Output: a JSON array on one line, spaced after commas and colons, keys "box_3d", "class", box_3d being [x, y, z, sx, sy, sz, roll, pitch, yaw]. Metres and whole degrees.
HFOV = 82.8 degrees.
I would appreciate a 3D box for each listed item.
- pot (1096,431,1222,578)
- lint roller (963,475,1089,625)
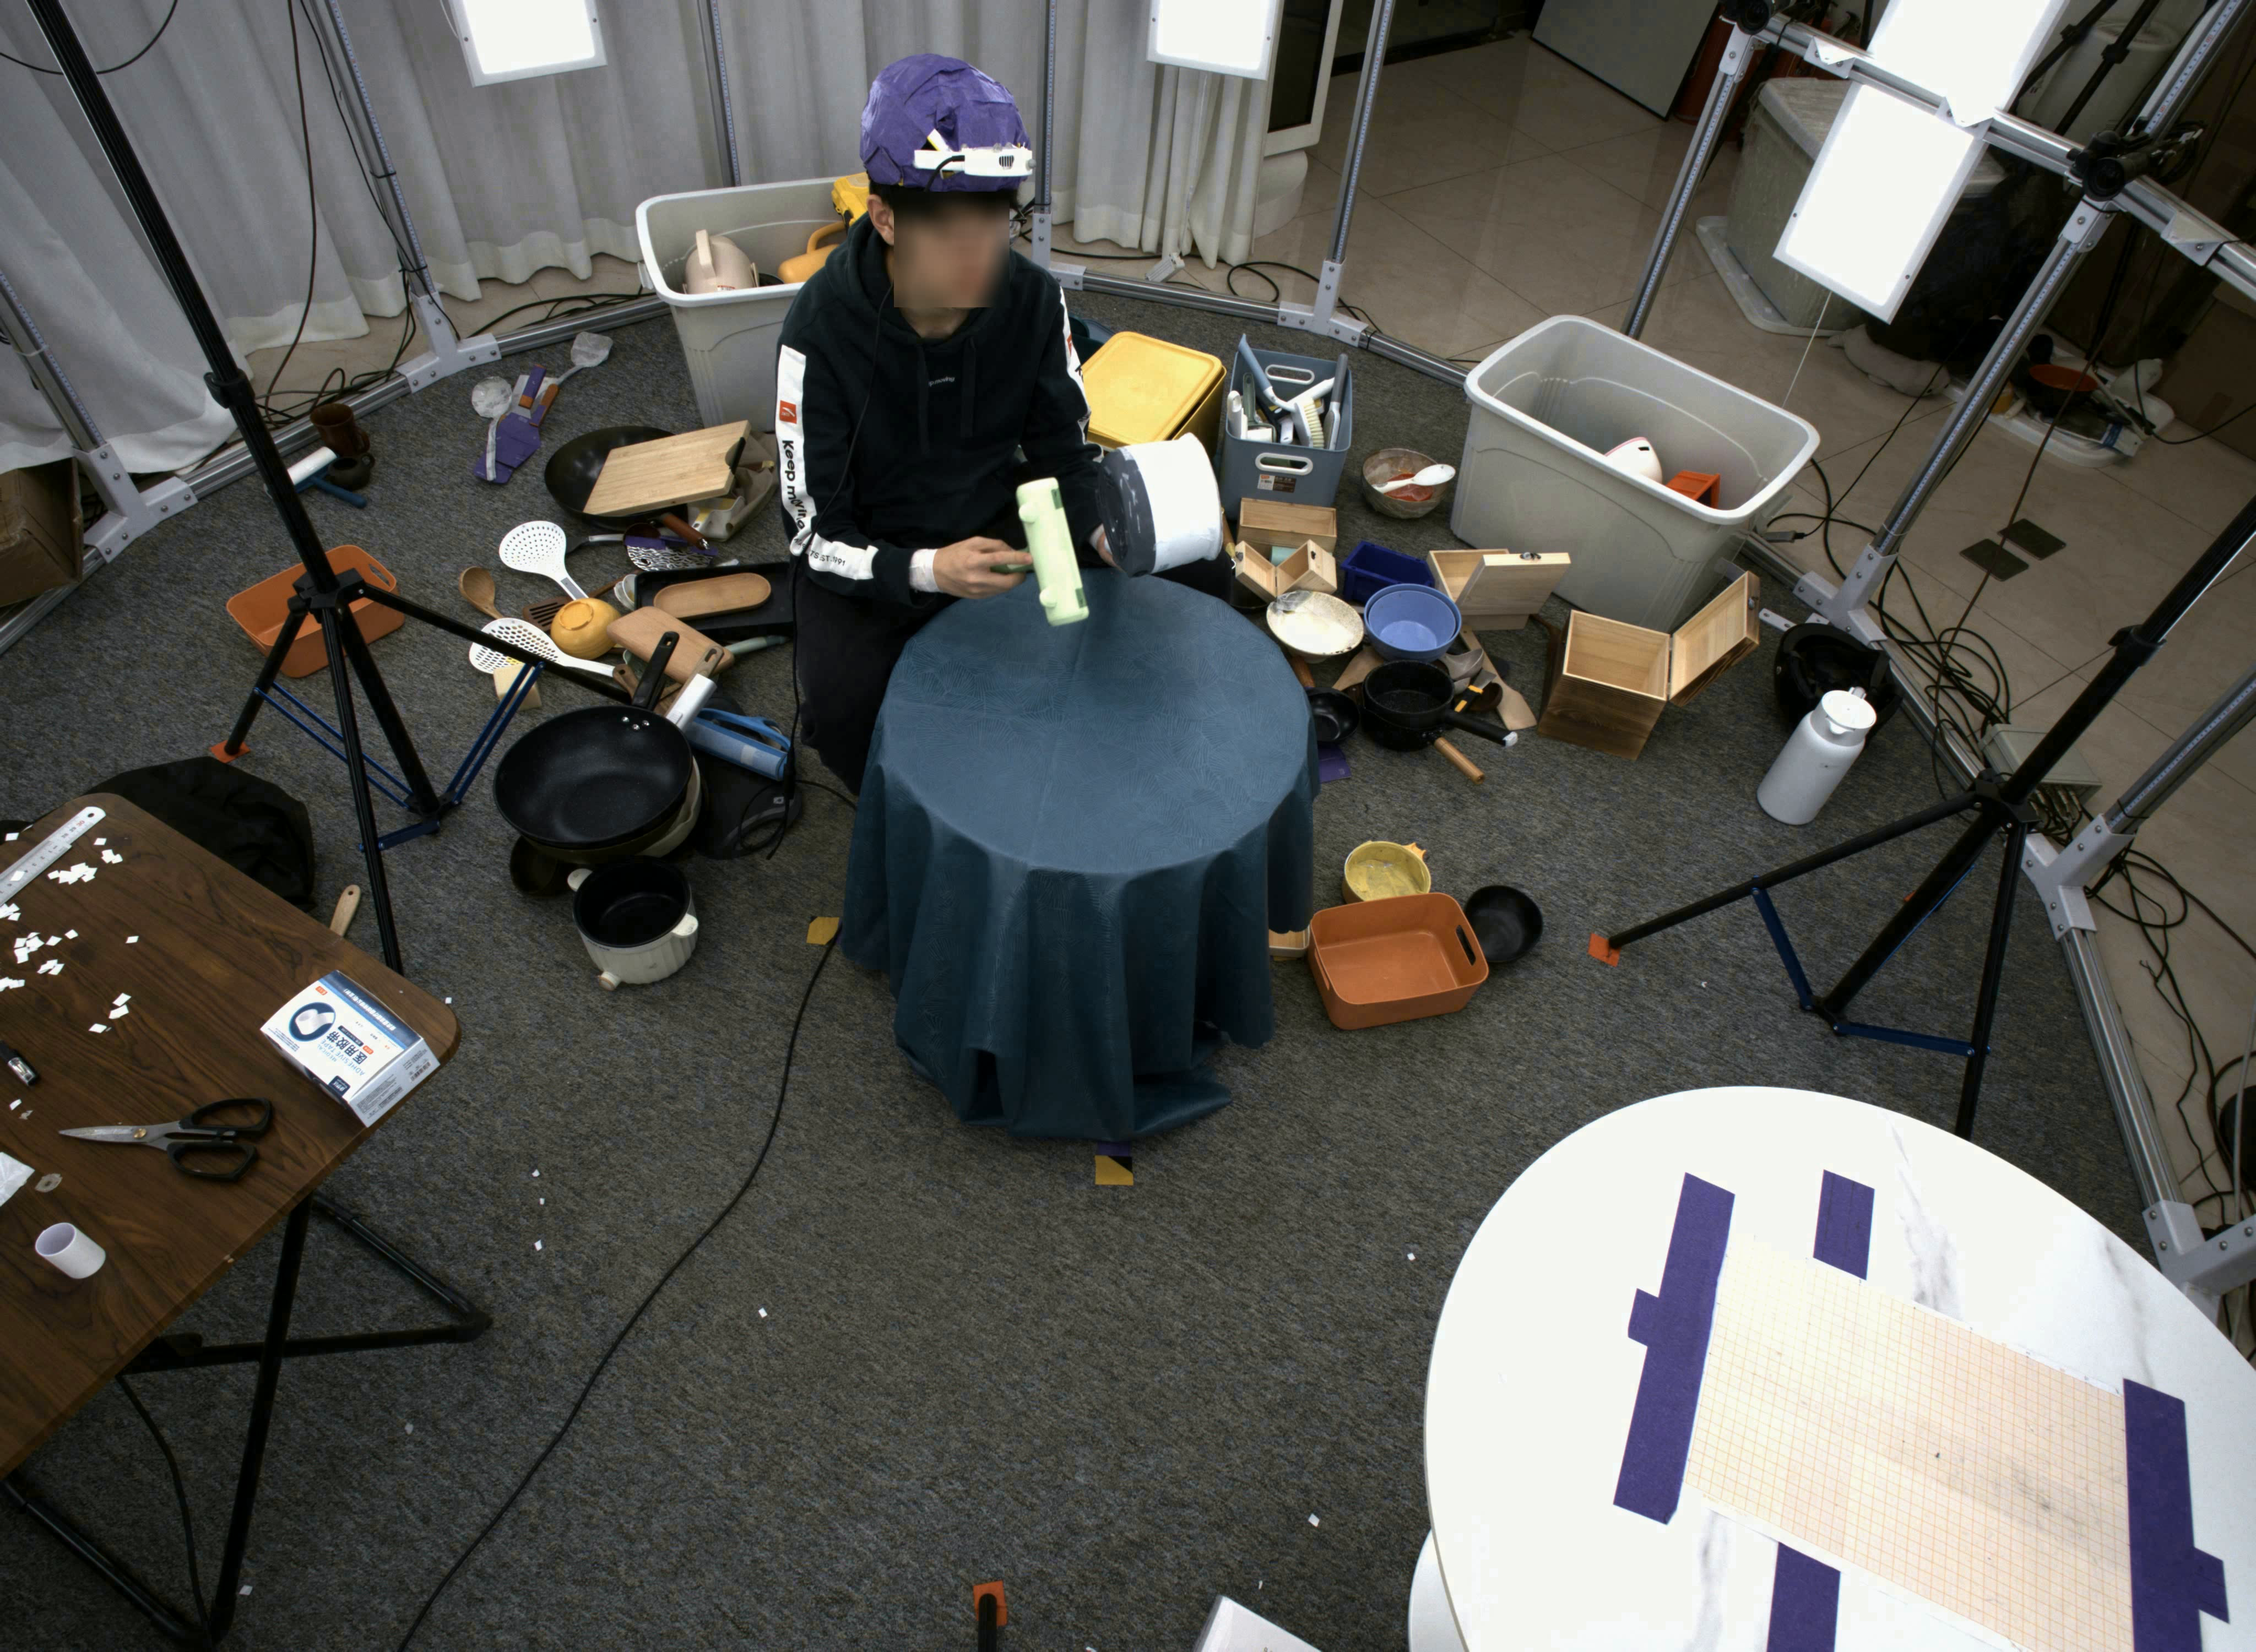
[{"box_3d": [0.036, -0.441, 1.813, 0.136, 0.232, 0.180, -14, 85, -10], "class": "pot"}, {"box_3d": [-0.158, -0.366, 1.778, 0.183, 0.197, 0.083, -10, 9, 20], "class": "lint roller"}]
